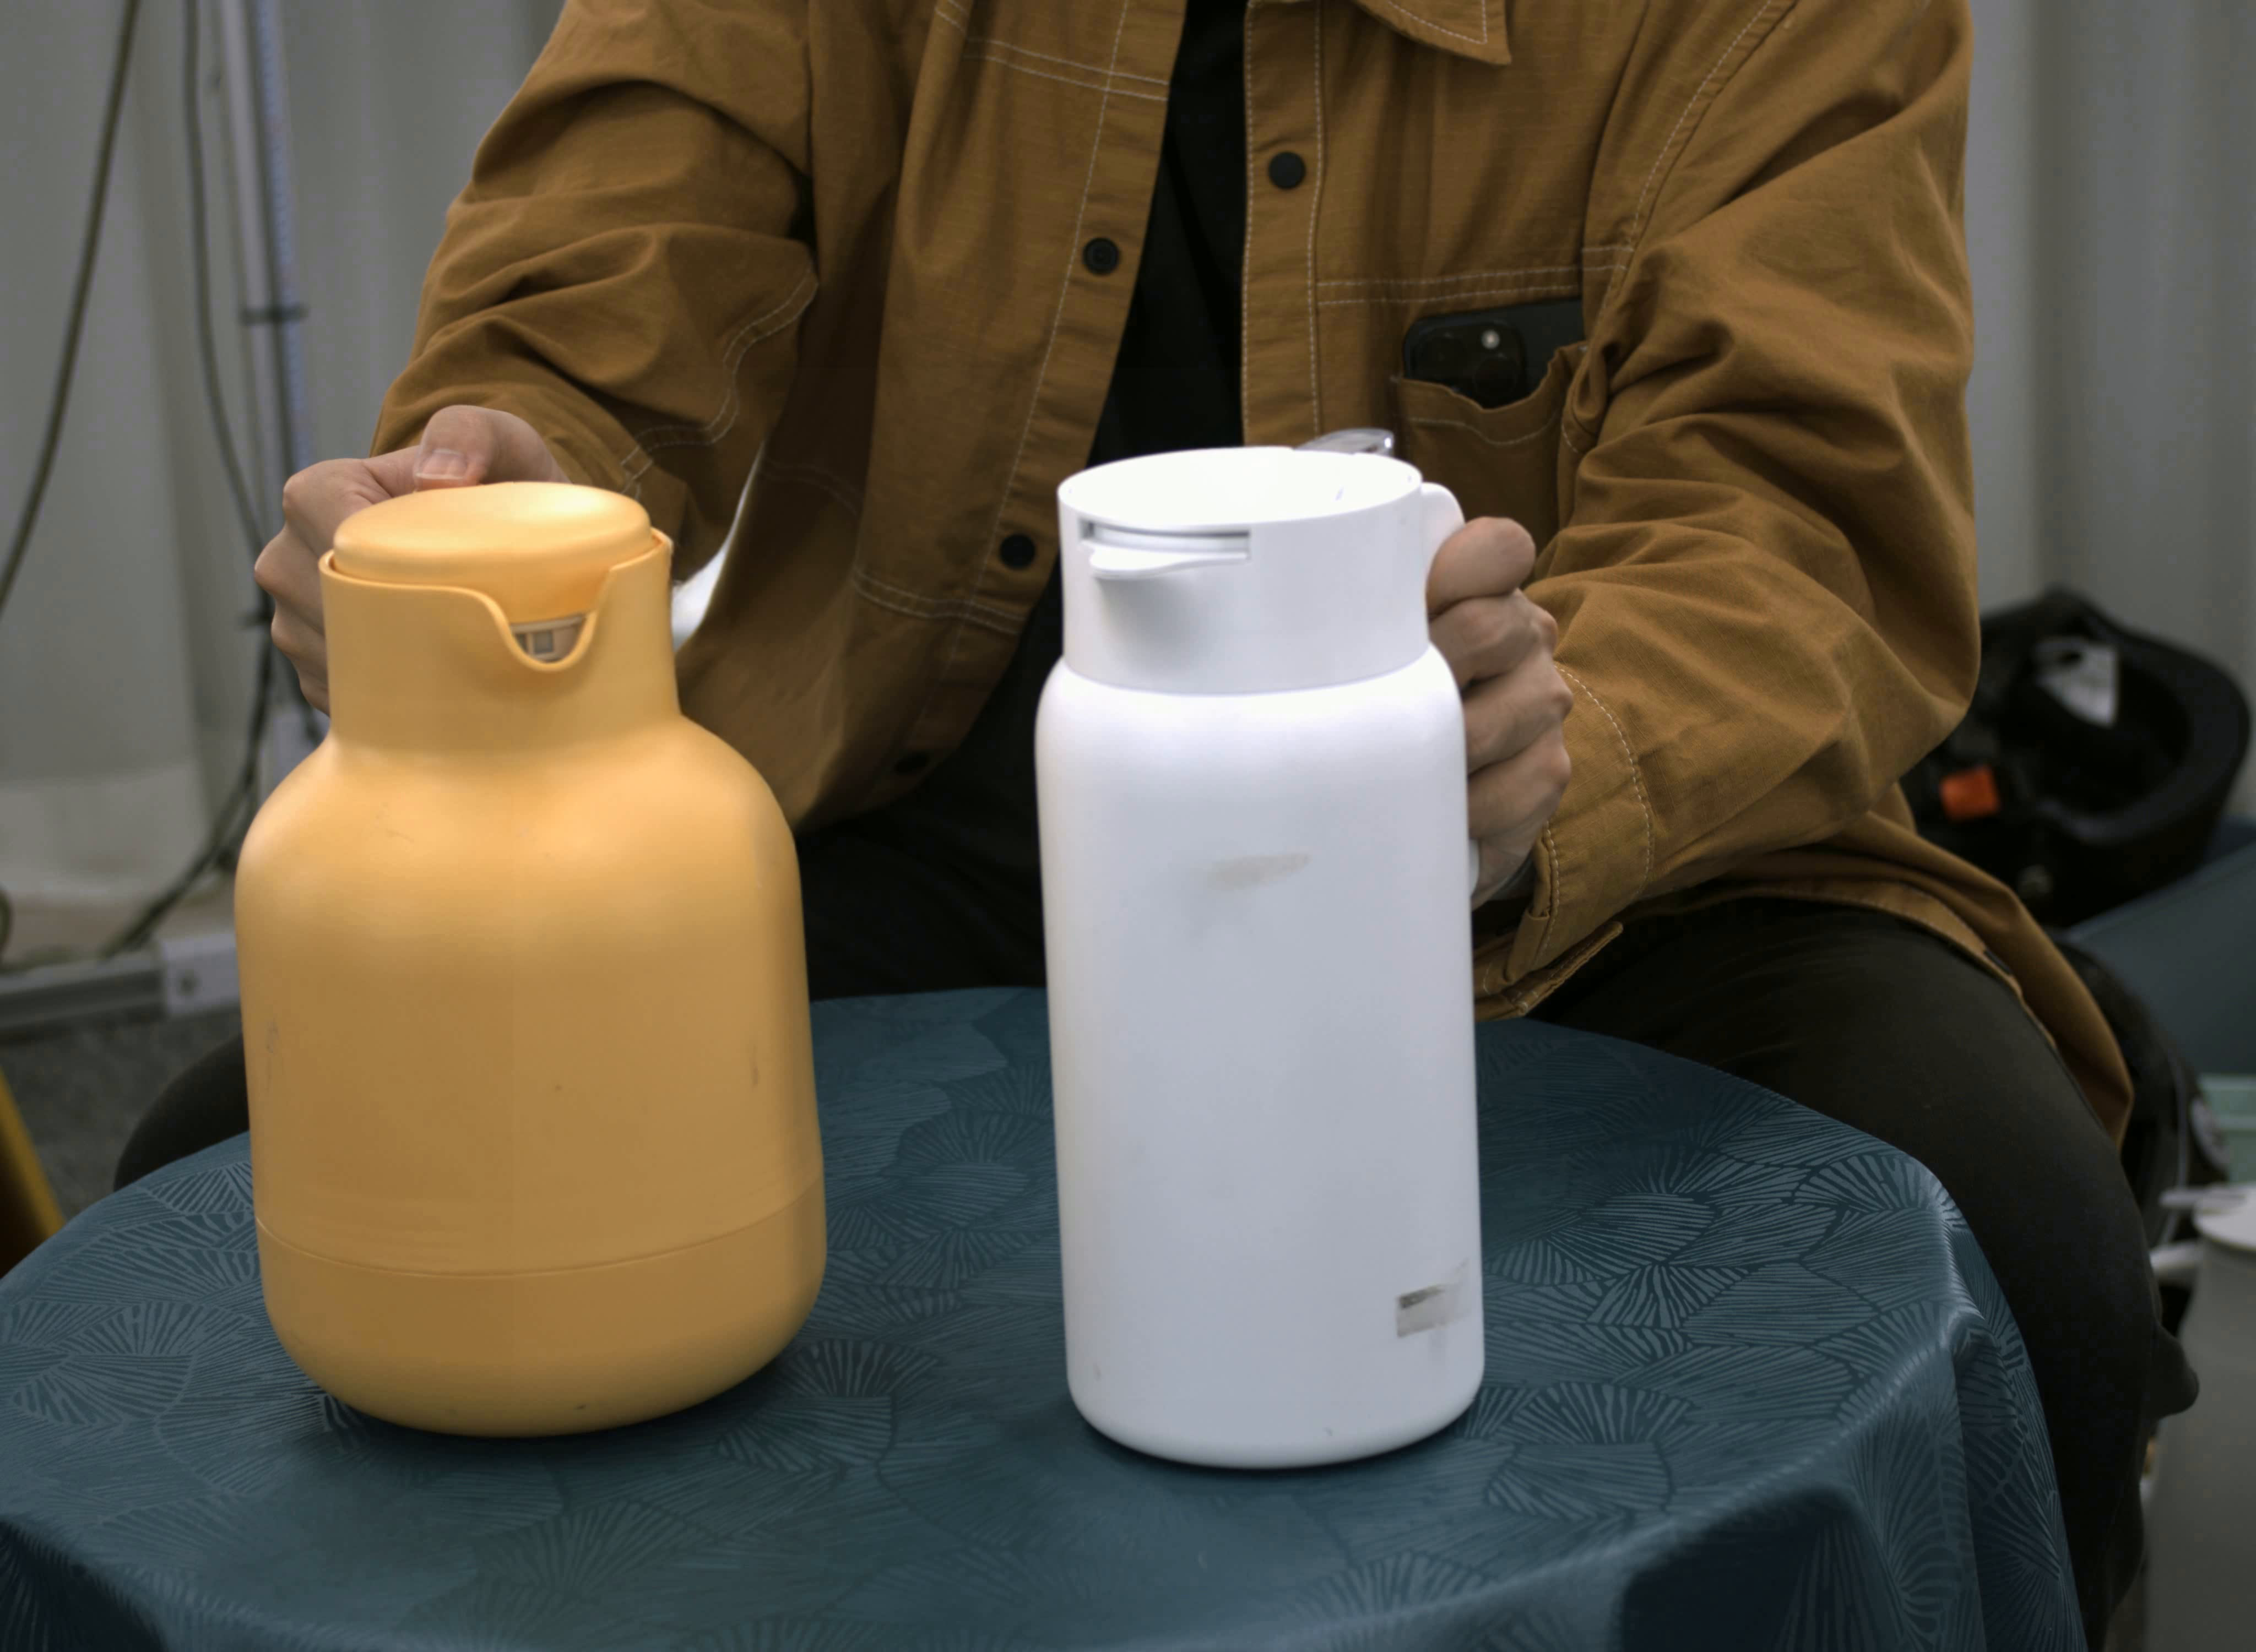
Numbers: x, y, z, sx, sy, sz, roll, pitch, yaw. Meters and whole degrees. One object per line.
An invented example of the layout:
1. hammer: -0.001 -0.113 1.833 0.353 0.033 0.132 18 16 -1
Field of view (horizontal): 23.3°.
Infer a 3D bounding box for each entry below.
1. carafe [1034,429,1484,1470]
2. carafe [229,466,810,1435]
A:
1. carafe: 0.043 0.029 1.511 0.124 0.268 0.173 3 15 31
2. carafe: -0.177 0.027 1.572 0.162 0.259 0.204 -3 15 -15
